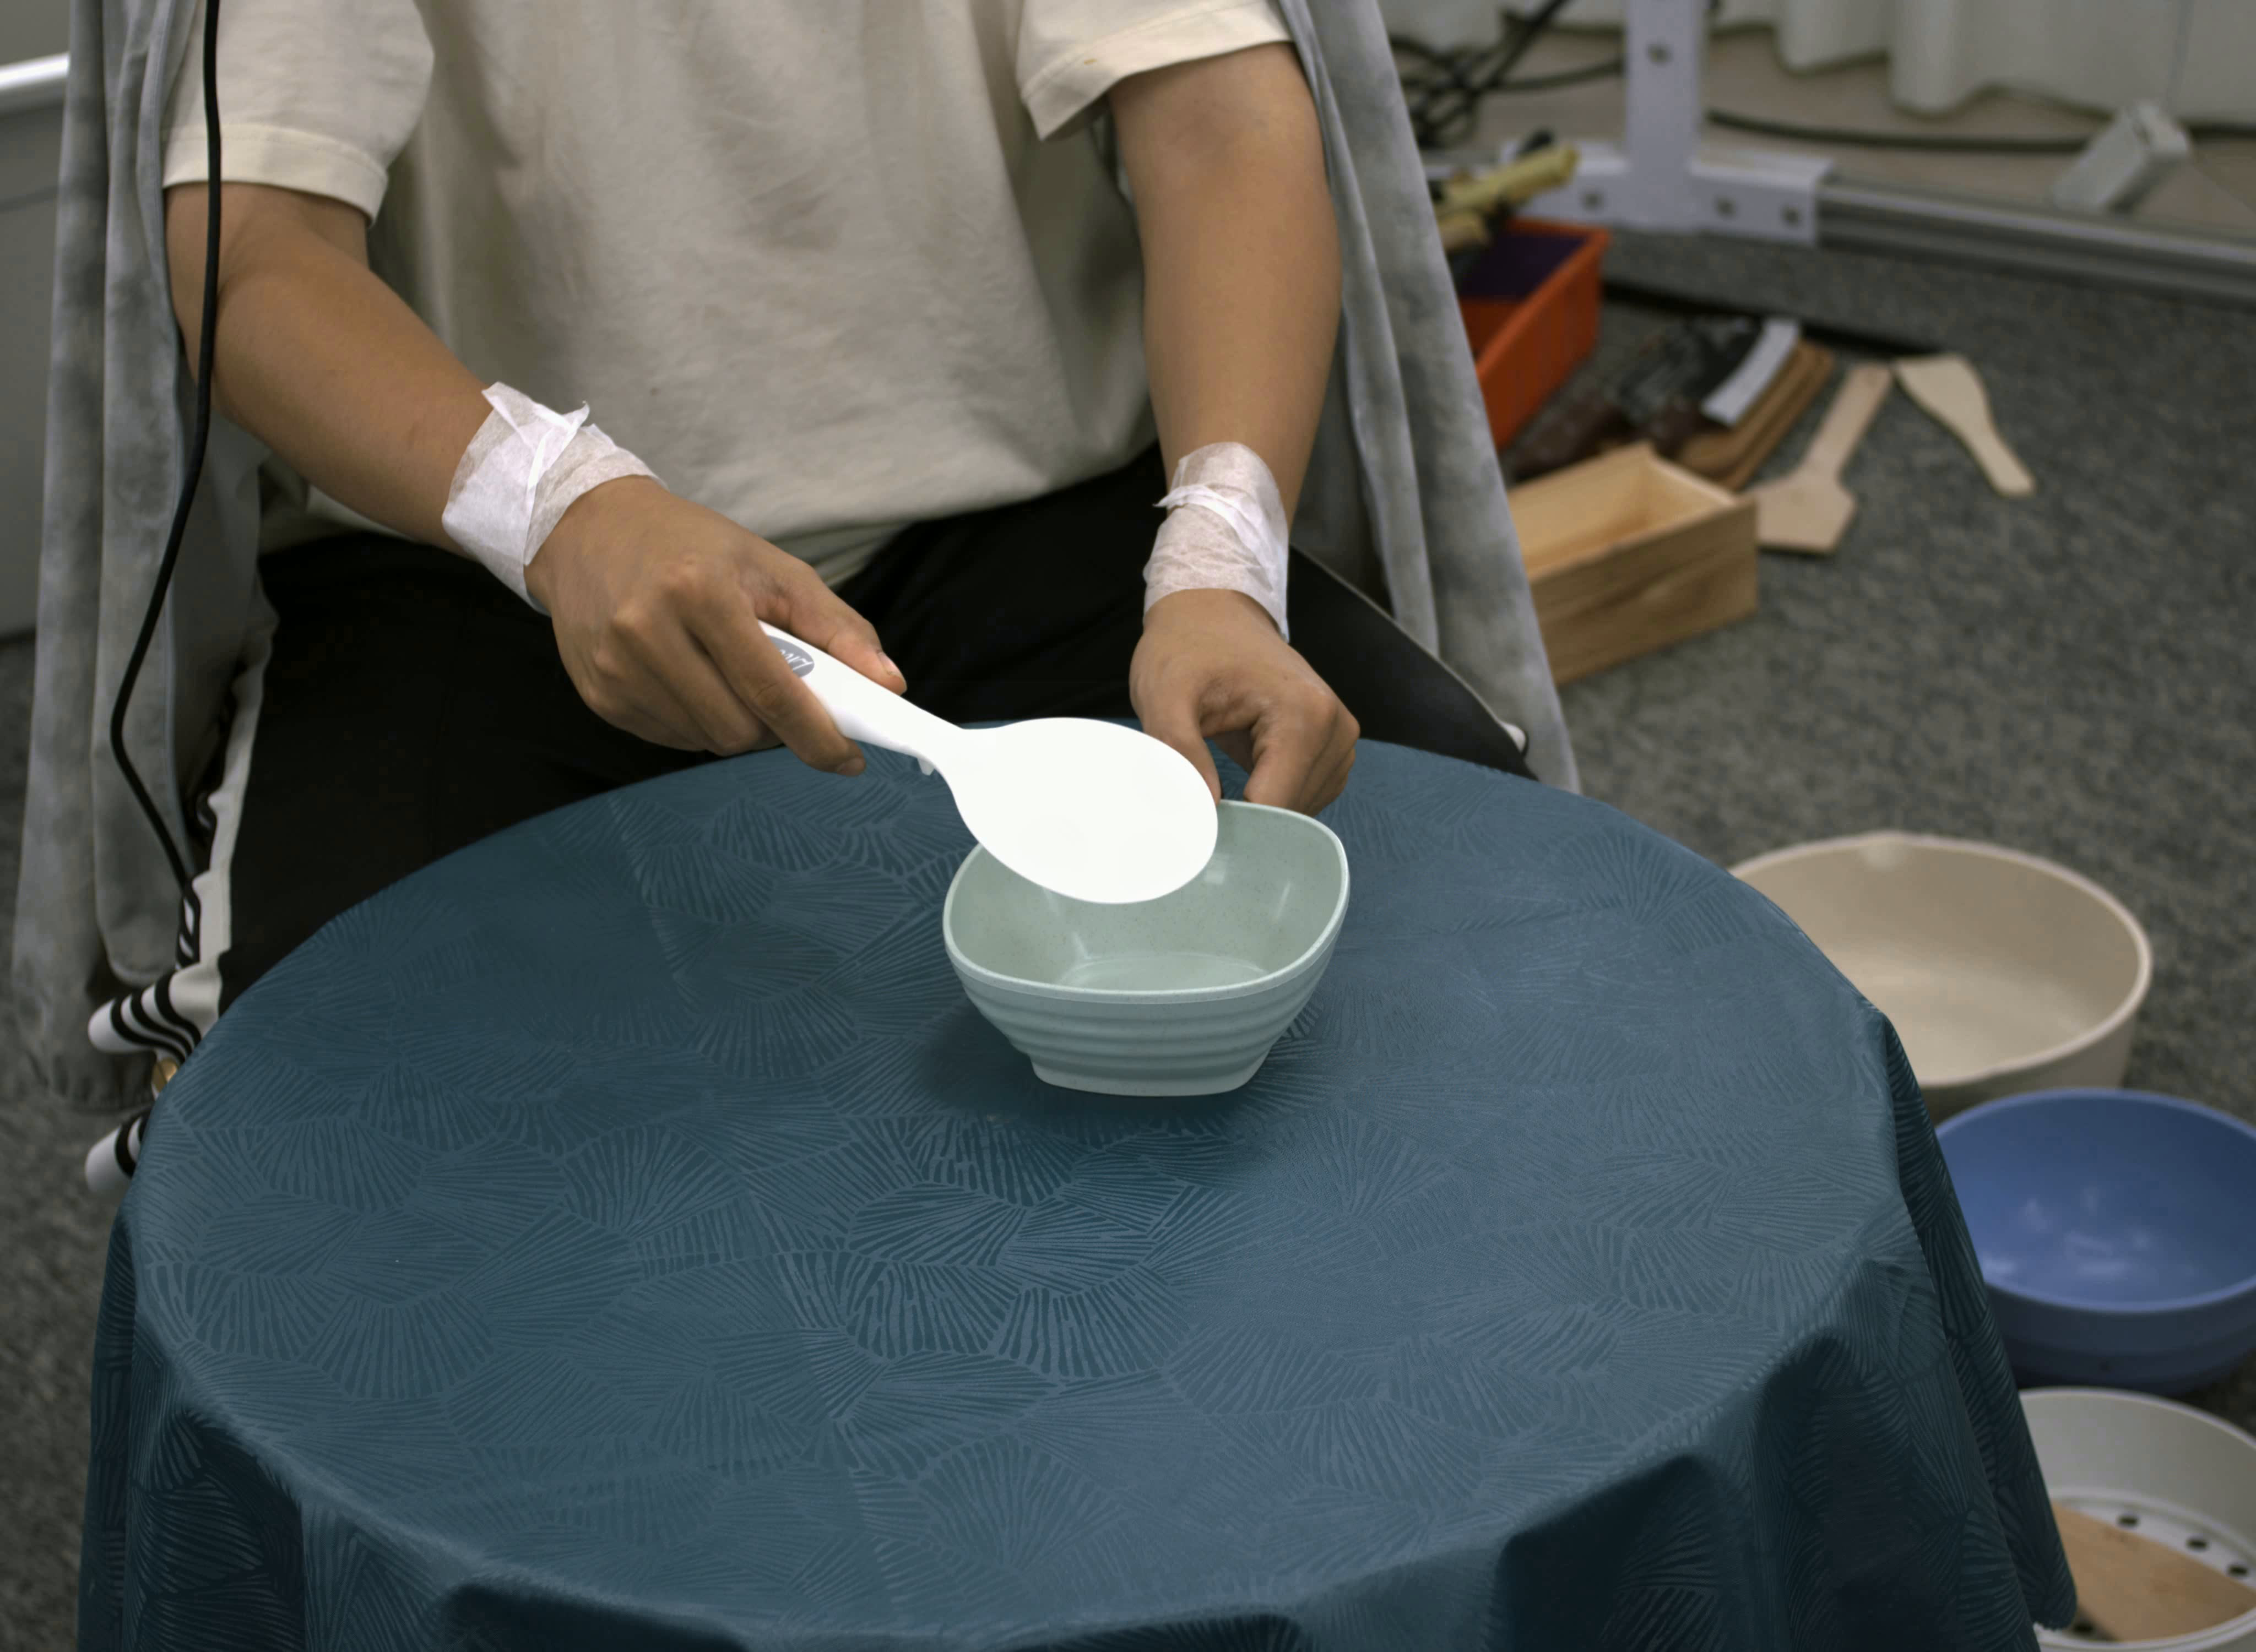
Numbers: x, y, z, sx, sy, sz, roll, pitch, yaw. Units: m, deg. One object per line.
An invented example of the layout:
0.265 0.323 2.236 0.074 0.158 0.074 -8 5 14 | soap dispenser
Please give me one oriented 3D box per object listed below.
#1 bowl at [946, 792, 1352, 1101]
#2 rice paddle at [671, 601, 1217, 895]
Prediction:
0.009 0.047 1.940 0.150 0.058 0.154 -3 30 2 | bowl
-0.062 -0.029 1.908 0.204 0.029 0.070 22 64 21 | rice paddle
